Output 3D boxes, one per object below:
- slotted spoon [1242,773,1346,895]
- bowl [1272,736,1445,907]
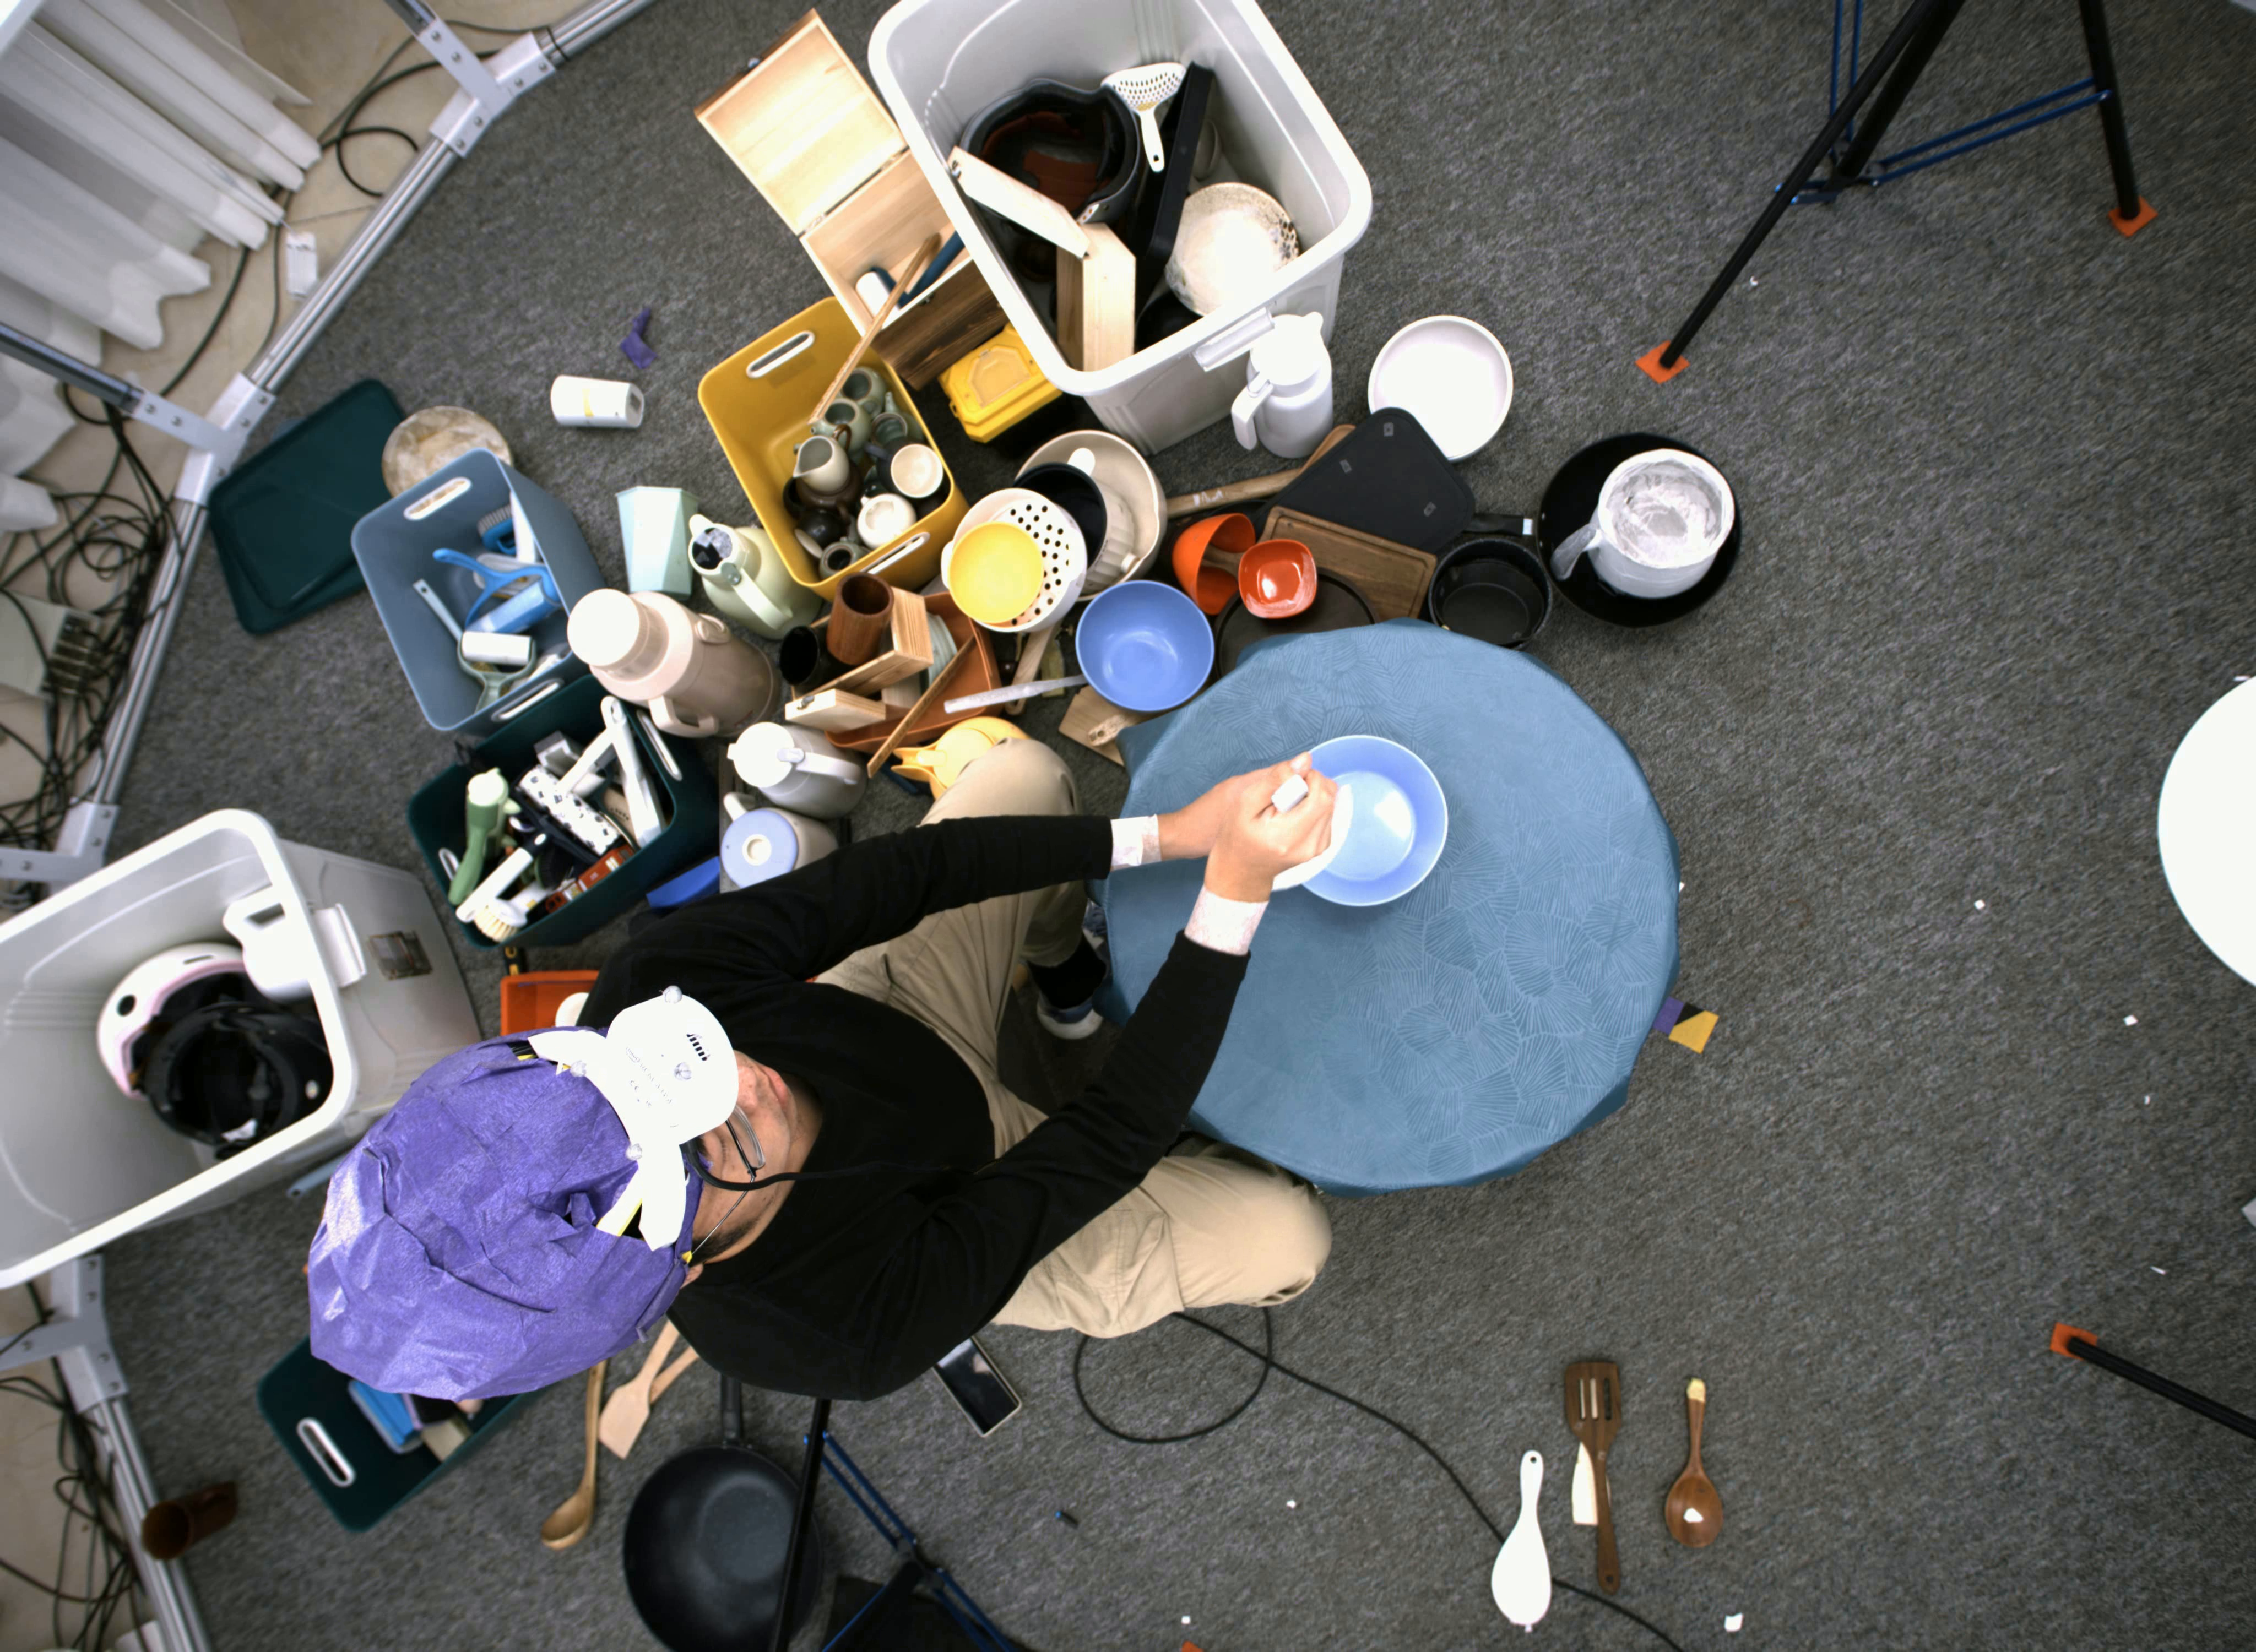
[{"bbox_3d":[0.147,0.001,1.216,0.136,0.352,0.045,-43,73,-1],"label":"slotted spoon"},{"bbox_3d":[0.239,-0.004,1.434,0.177,0.070,0.175,-1,87,12],"label":"bowl"}]
